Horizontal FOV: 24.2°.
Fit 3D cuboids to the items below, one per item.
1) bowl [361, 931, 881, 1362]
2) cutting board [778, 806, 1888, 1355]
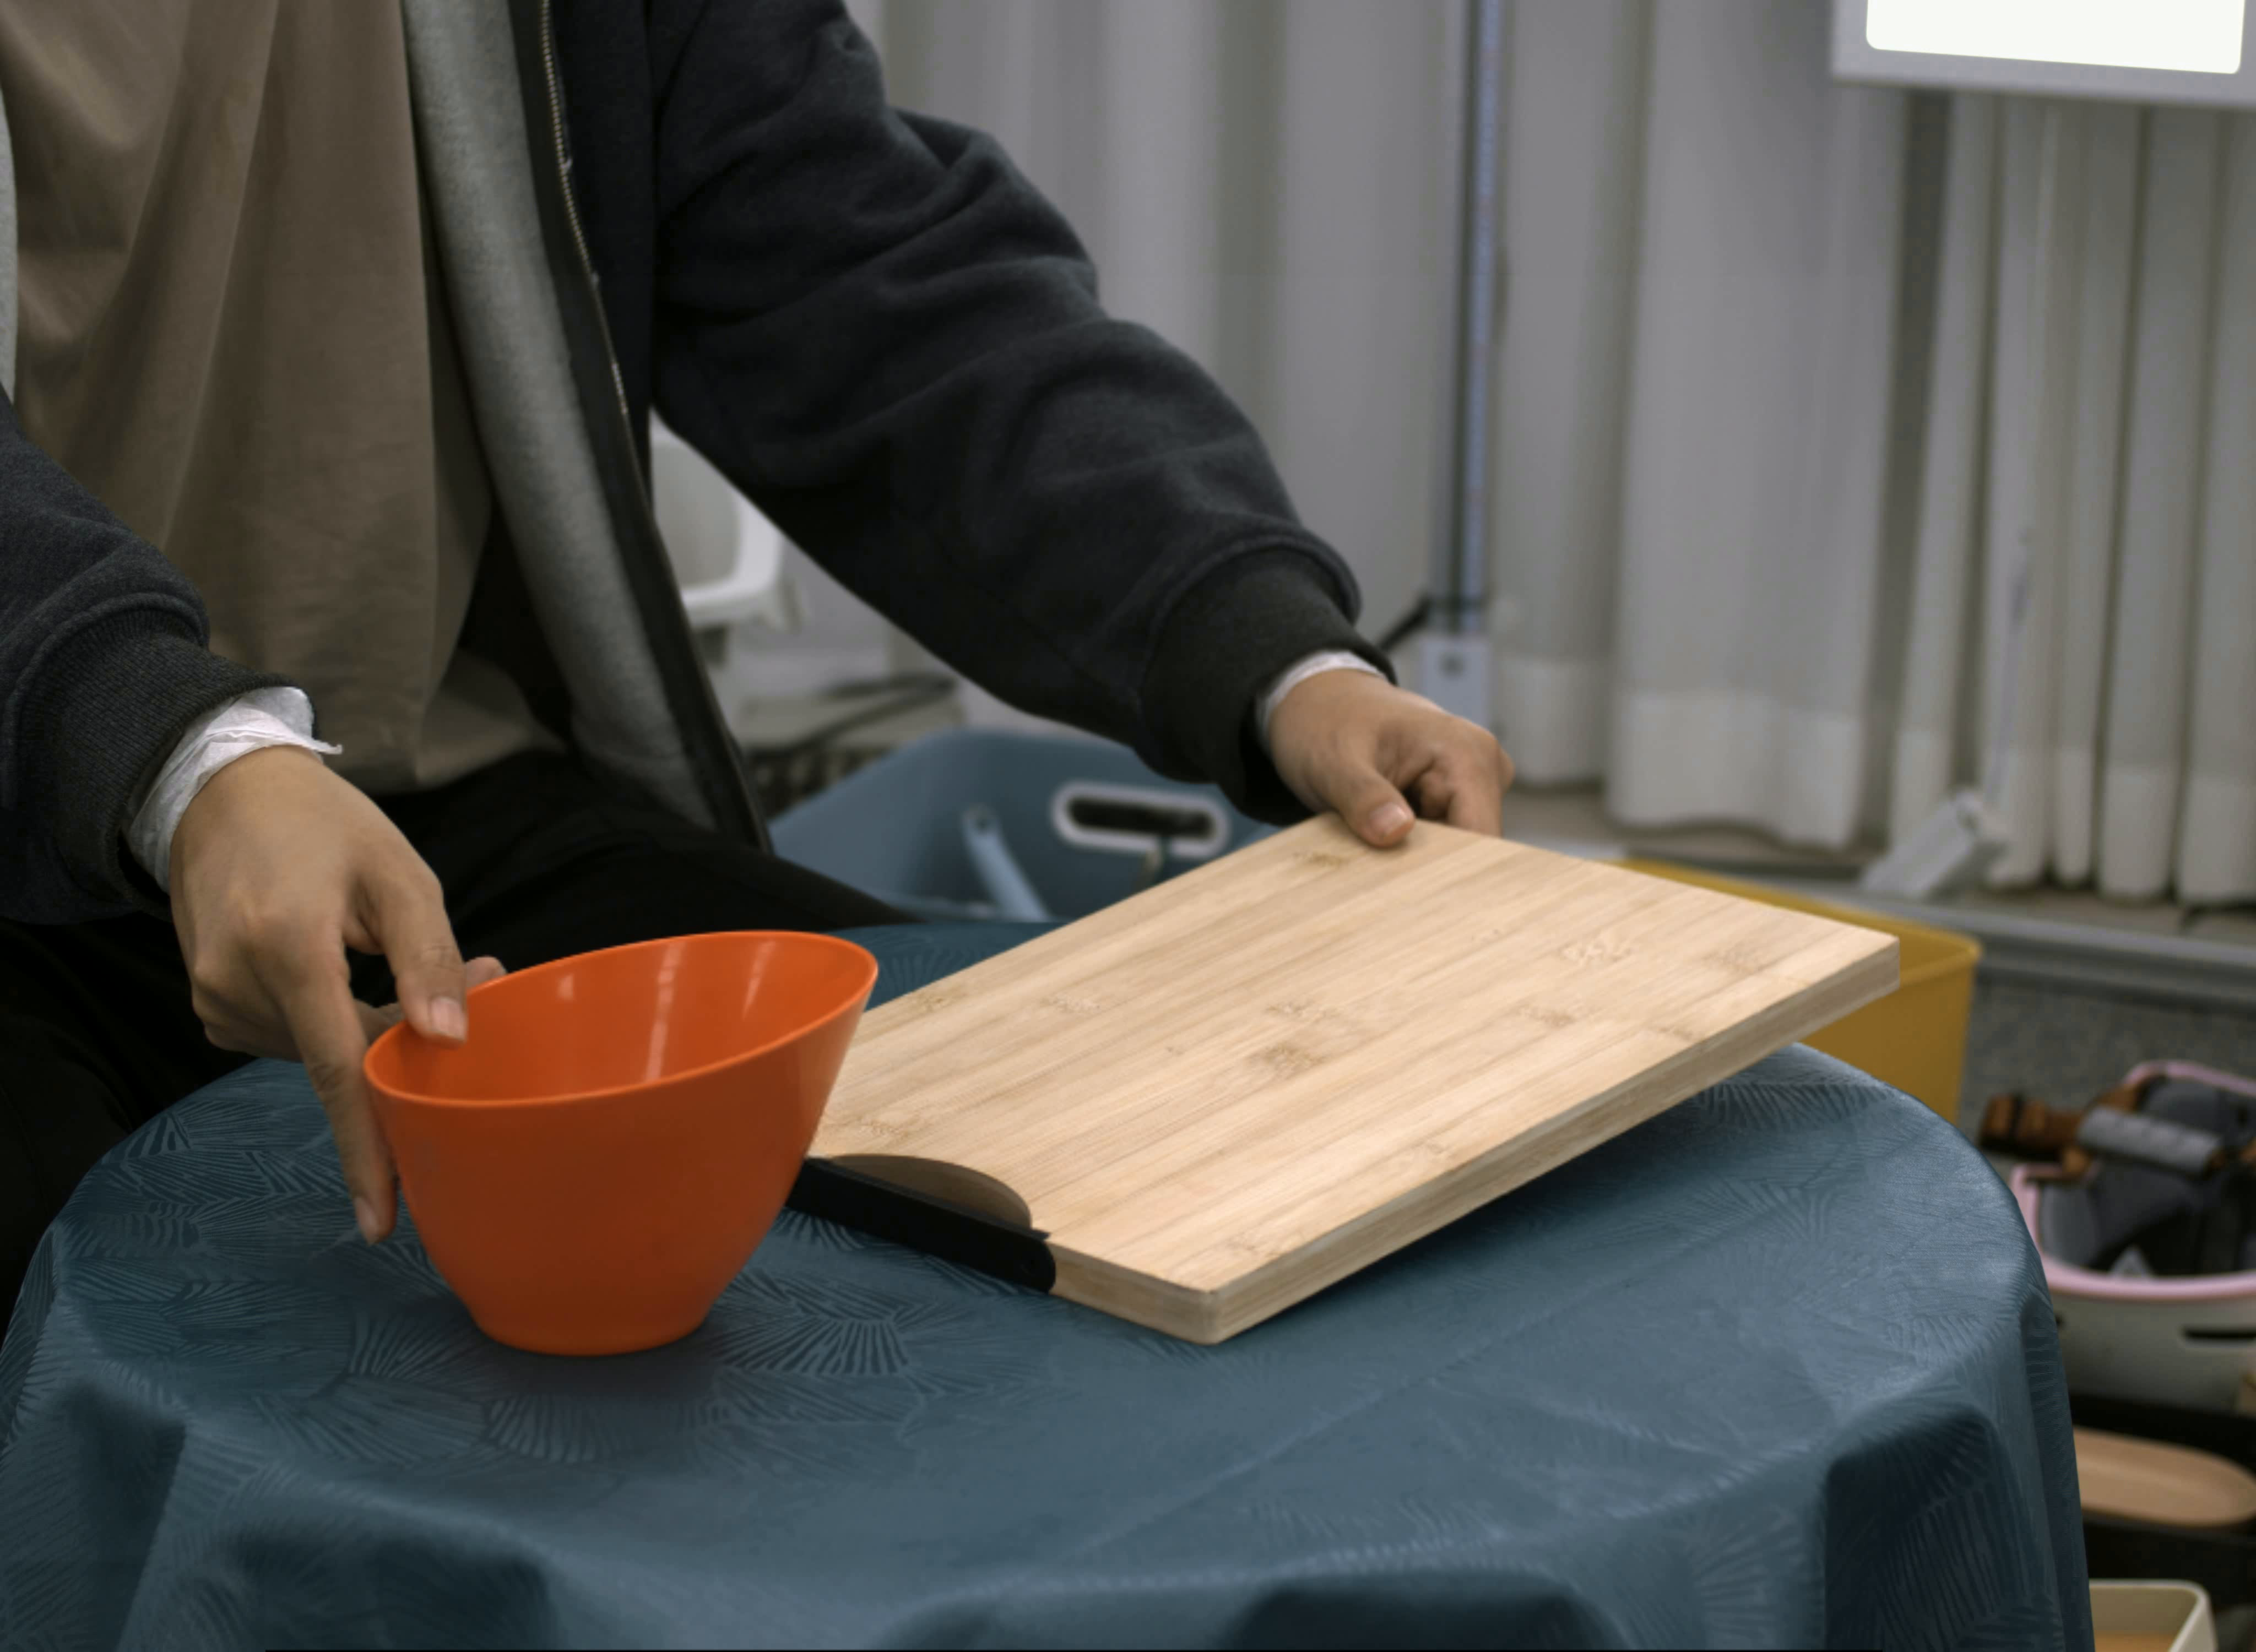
[{"bbox_3d":[-0.143,0.093,1.497,0.147,0.105,0.147,0,17,0],"label":"bowl"},{"bbox_3d":[0.046,0.072,1.679,0.247,0.024,0.350,13,25,40],"label":"cutting board"}]
